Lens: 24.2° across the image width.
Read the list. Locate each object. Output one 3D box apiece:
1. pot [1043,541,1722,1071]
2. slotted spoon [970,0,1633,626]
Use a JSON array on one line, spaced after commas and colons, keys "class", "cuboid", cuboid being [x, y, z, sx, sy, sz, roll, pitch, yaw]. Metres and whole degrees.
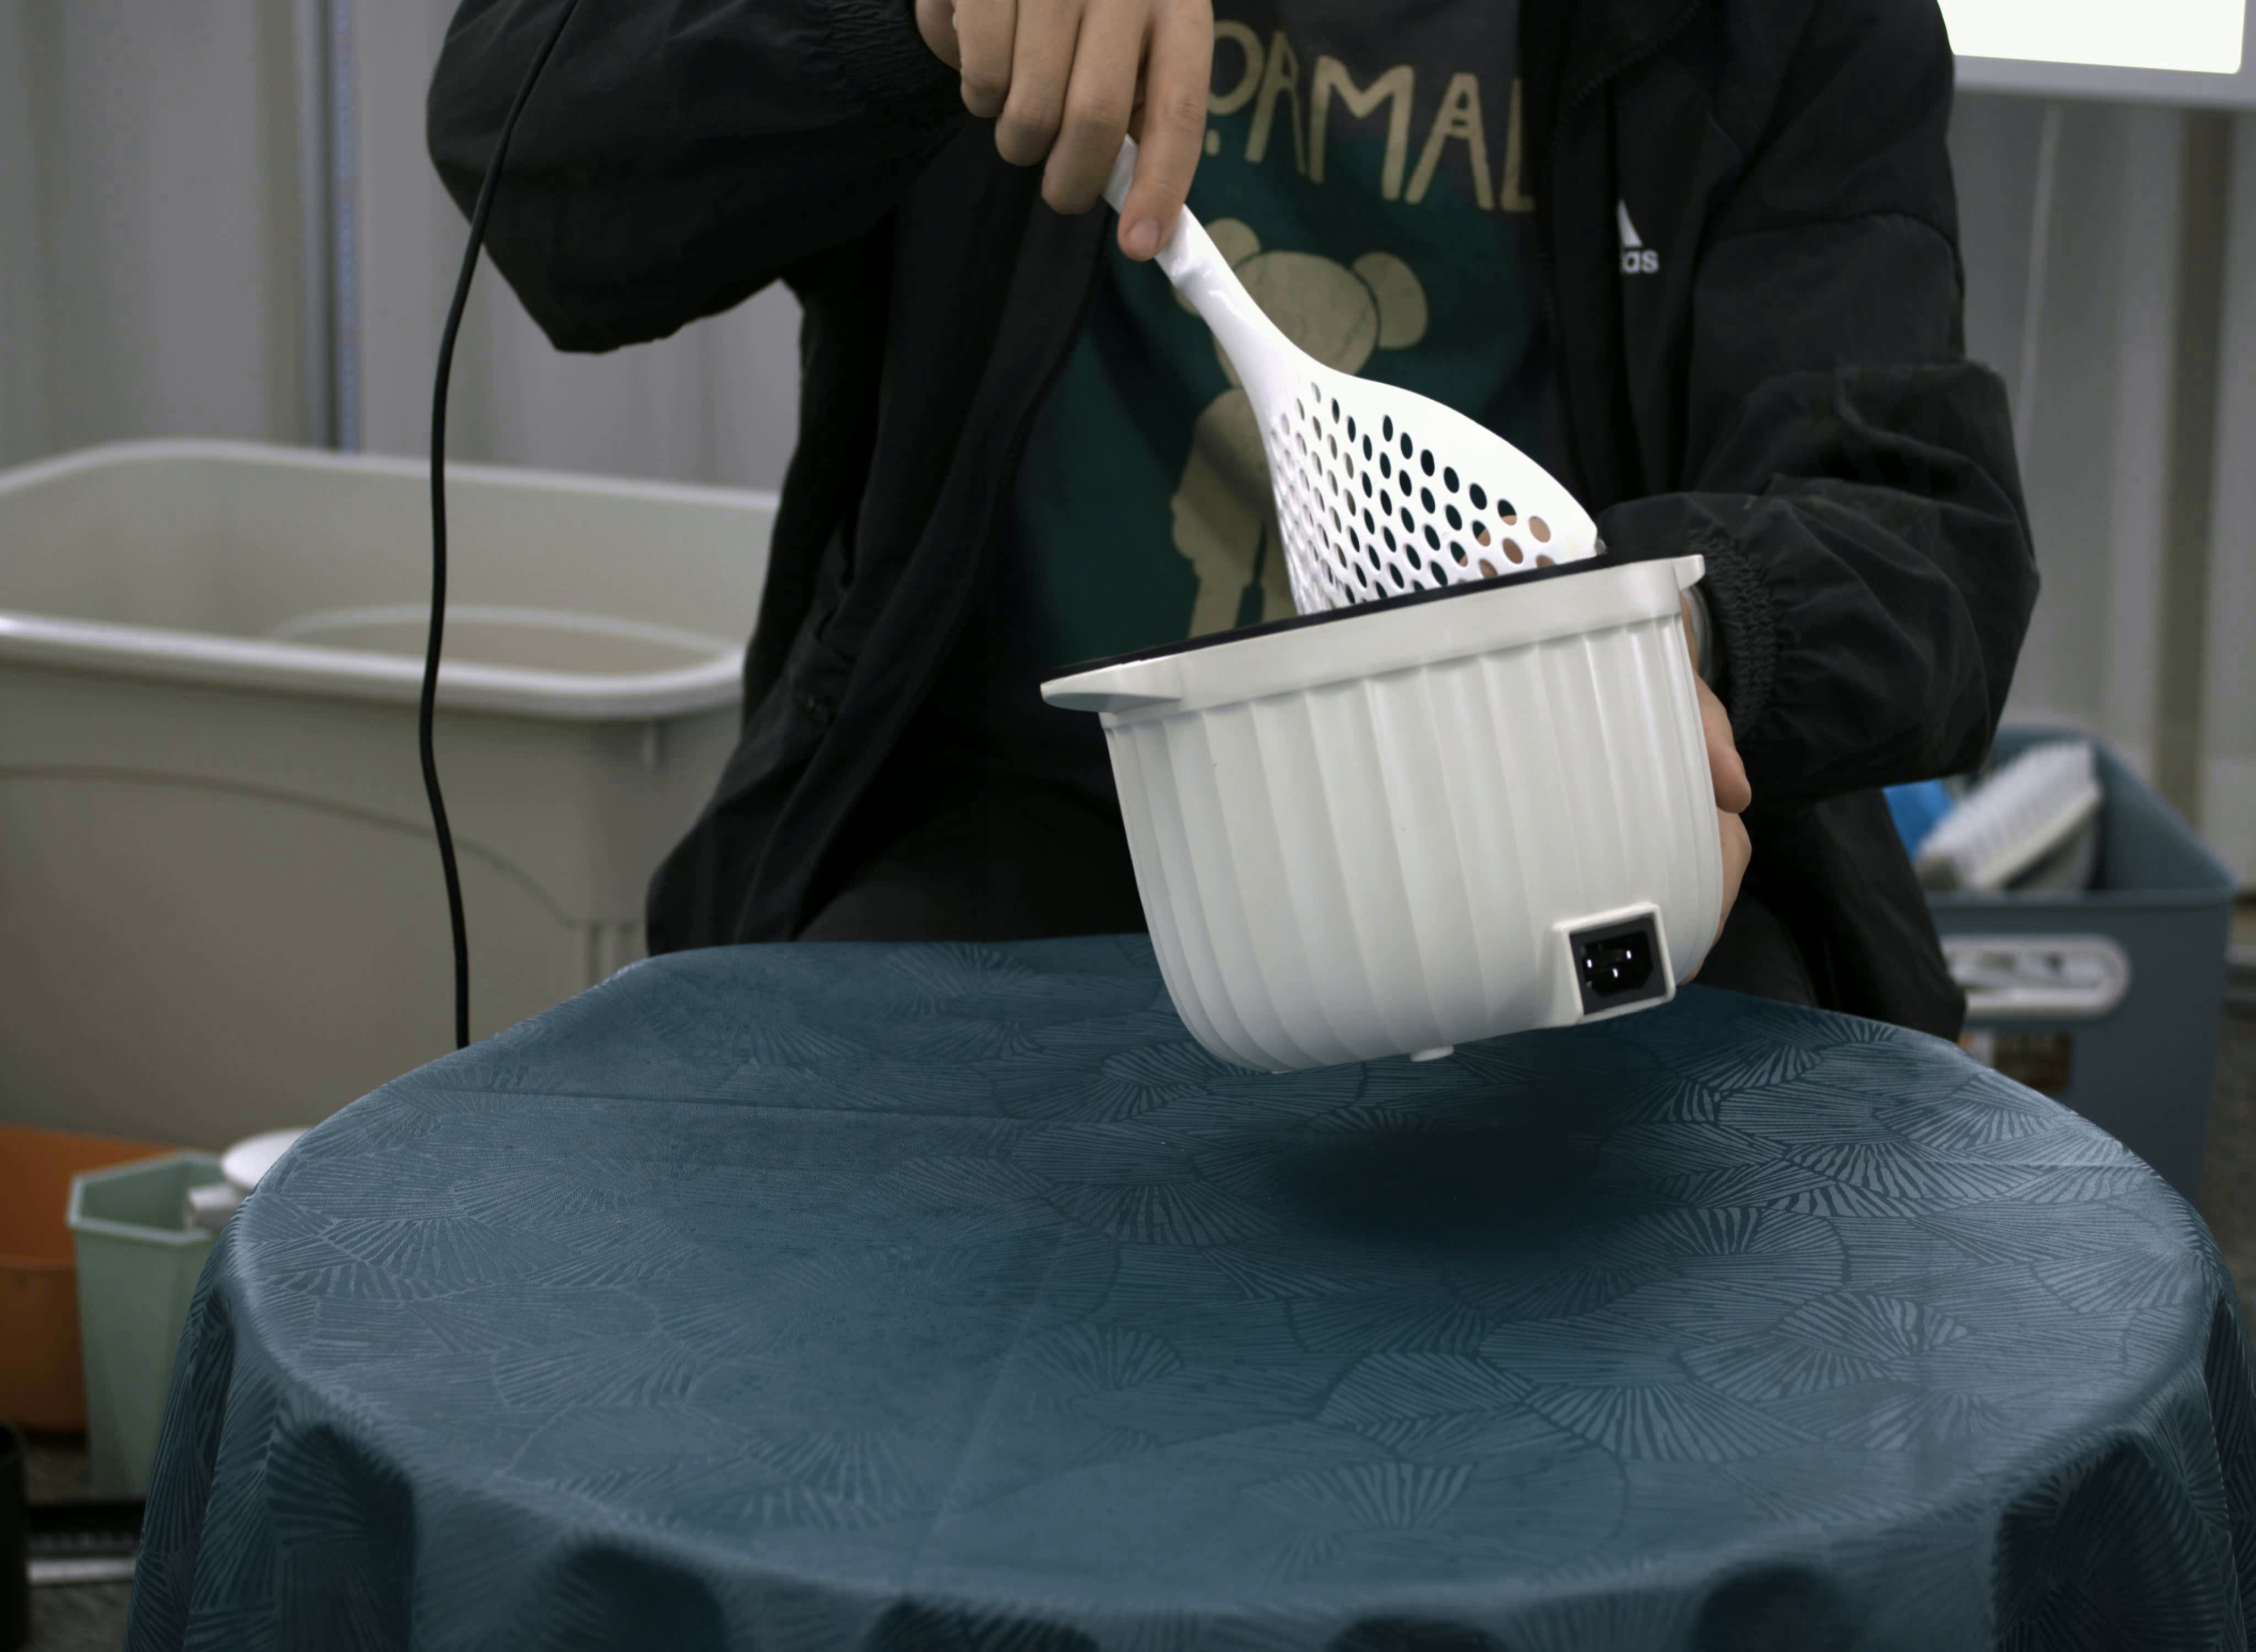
[{"class": "pot", "cuboid": [0.085, -0.003, 1.609, 0.241, 0.143, 0.189, -11, 4, -32]}, {"class": "slotted spoon", "cuboid": [0.046, -0.138, 1.661, 0.050, 0.137, 0.345, -11, 59, -37]}]
